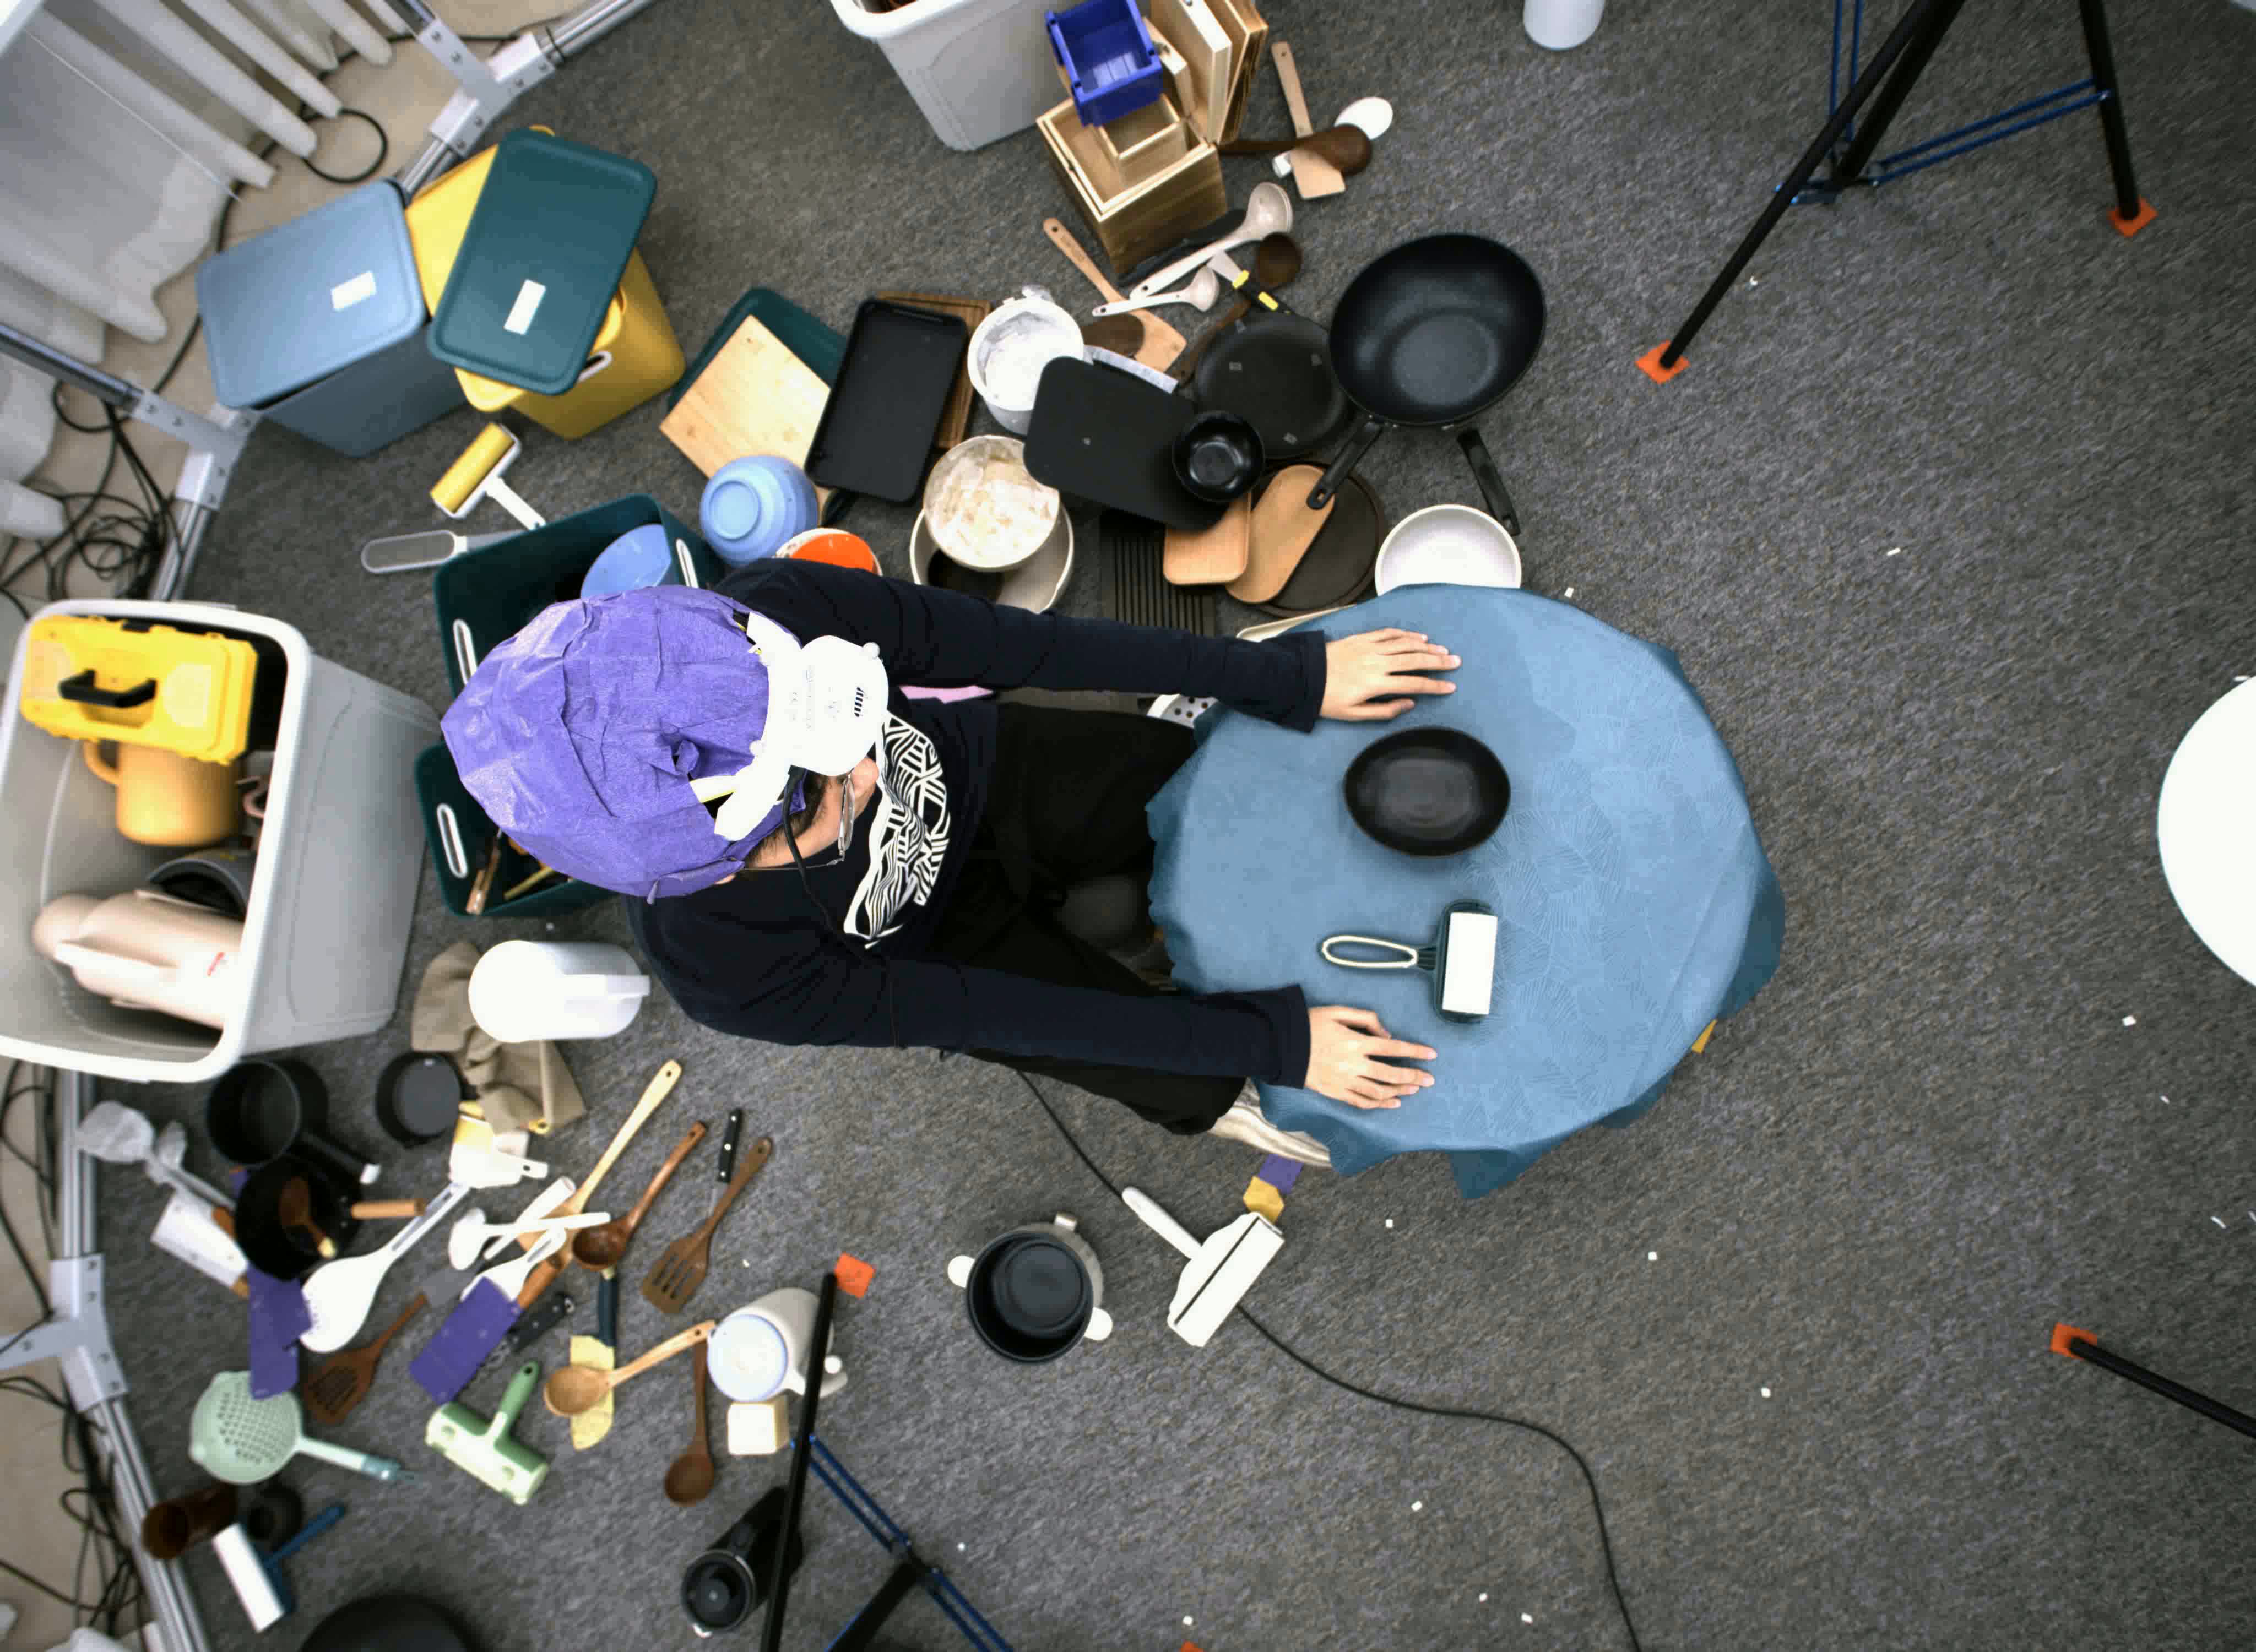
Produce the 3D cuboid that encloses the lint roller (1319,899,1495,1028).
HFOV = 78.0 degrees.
[{"bbox_3d":[0.286,0.134,1.434,0.181,0.048,0.134,4,87,14],"label":"lint roller"}]

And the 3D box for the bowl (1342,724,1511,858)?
[{"bbox_3d":[0.308,-0.034,1.426,0.171,0.067,0.137,4,87,13],"label":"bowl"}]
